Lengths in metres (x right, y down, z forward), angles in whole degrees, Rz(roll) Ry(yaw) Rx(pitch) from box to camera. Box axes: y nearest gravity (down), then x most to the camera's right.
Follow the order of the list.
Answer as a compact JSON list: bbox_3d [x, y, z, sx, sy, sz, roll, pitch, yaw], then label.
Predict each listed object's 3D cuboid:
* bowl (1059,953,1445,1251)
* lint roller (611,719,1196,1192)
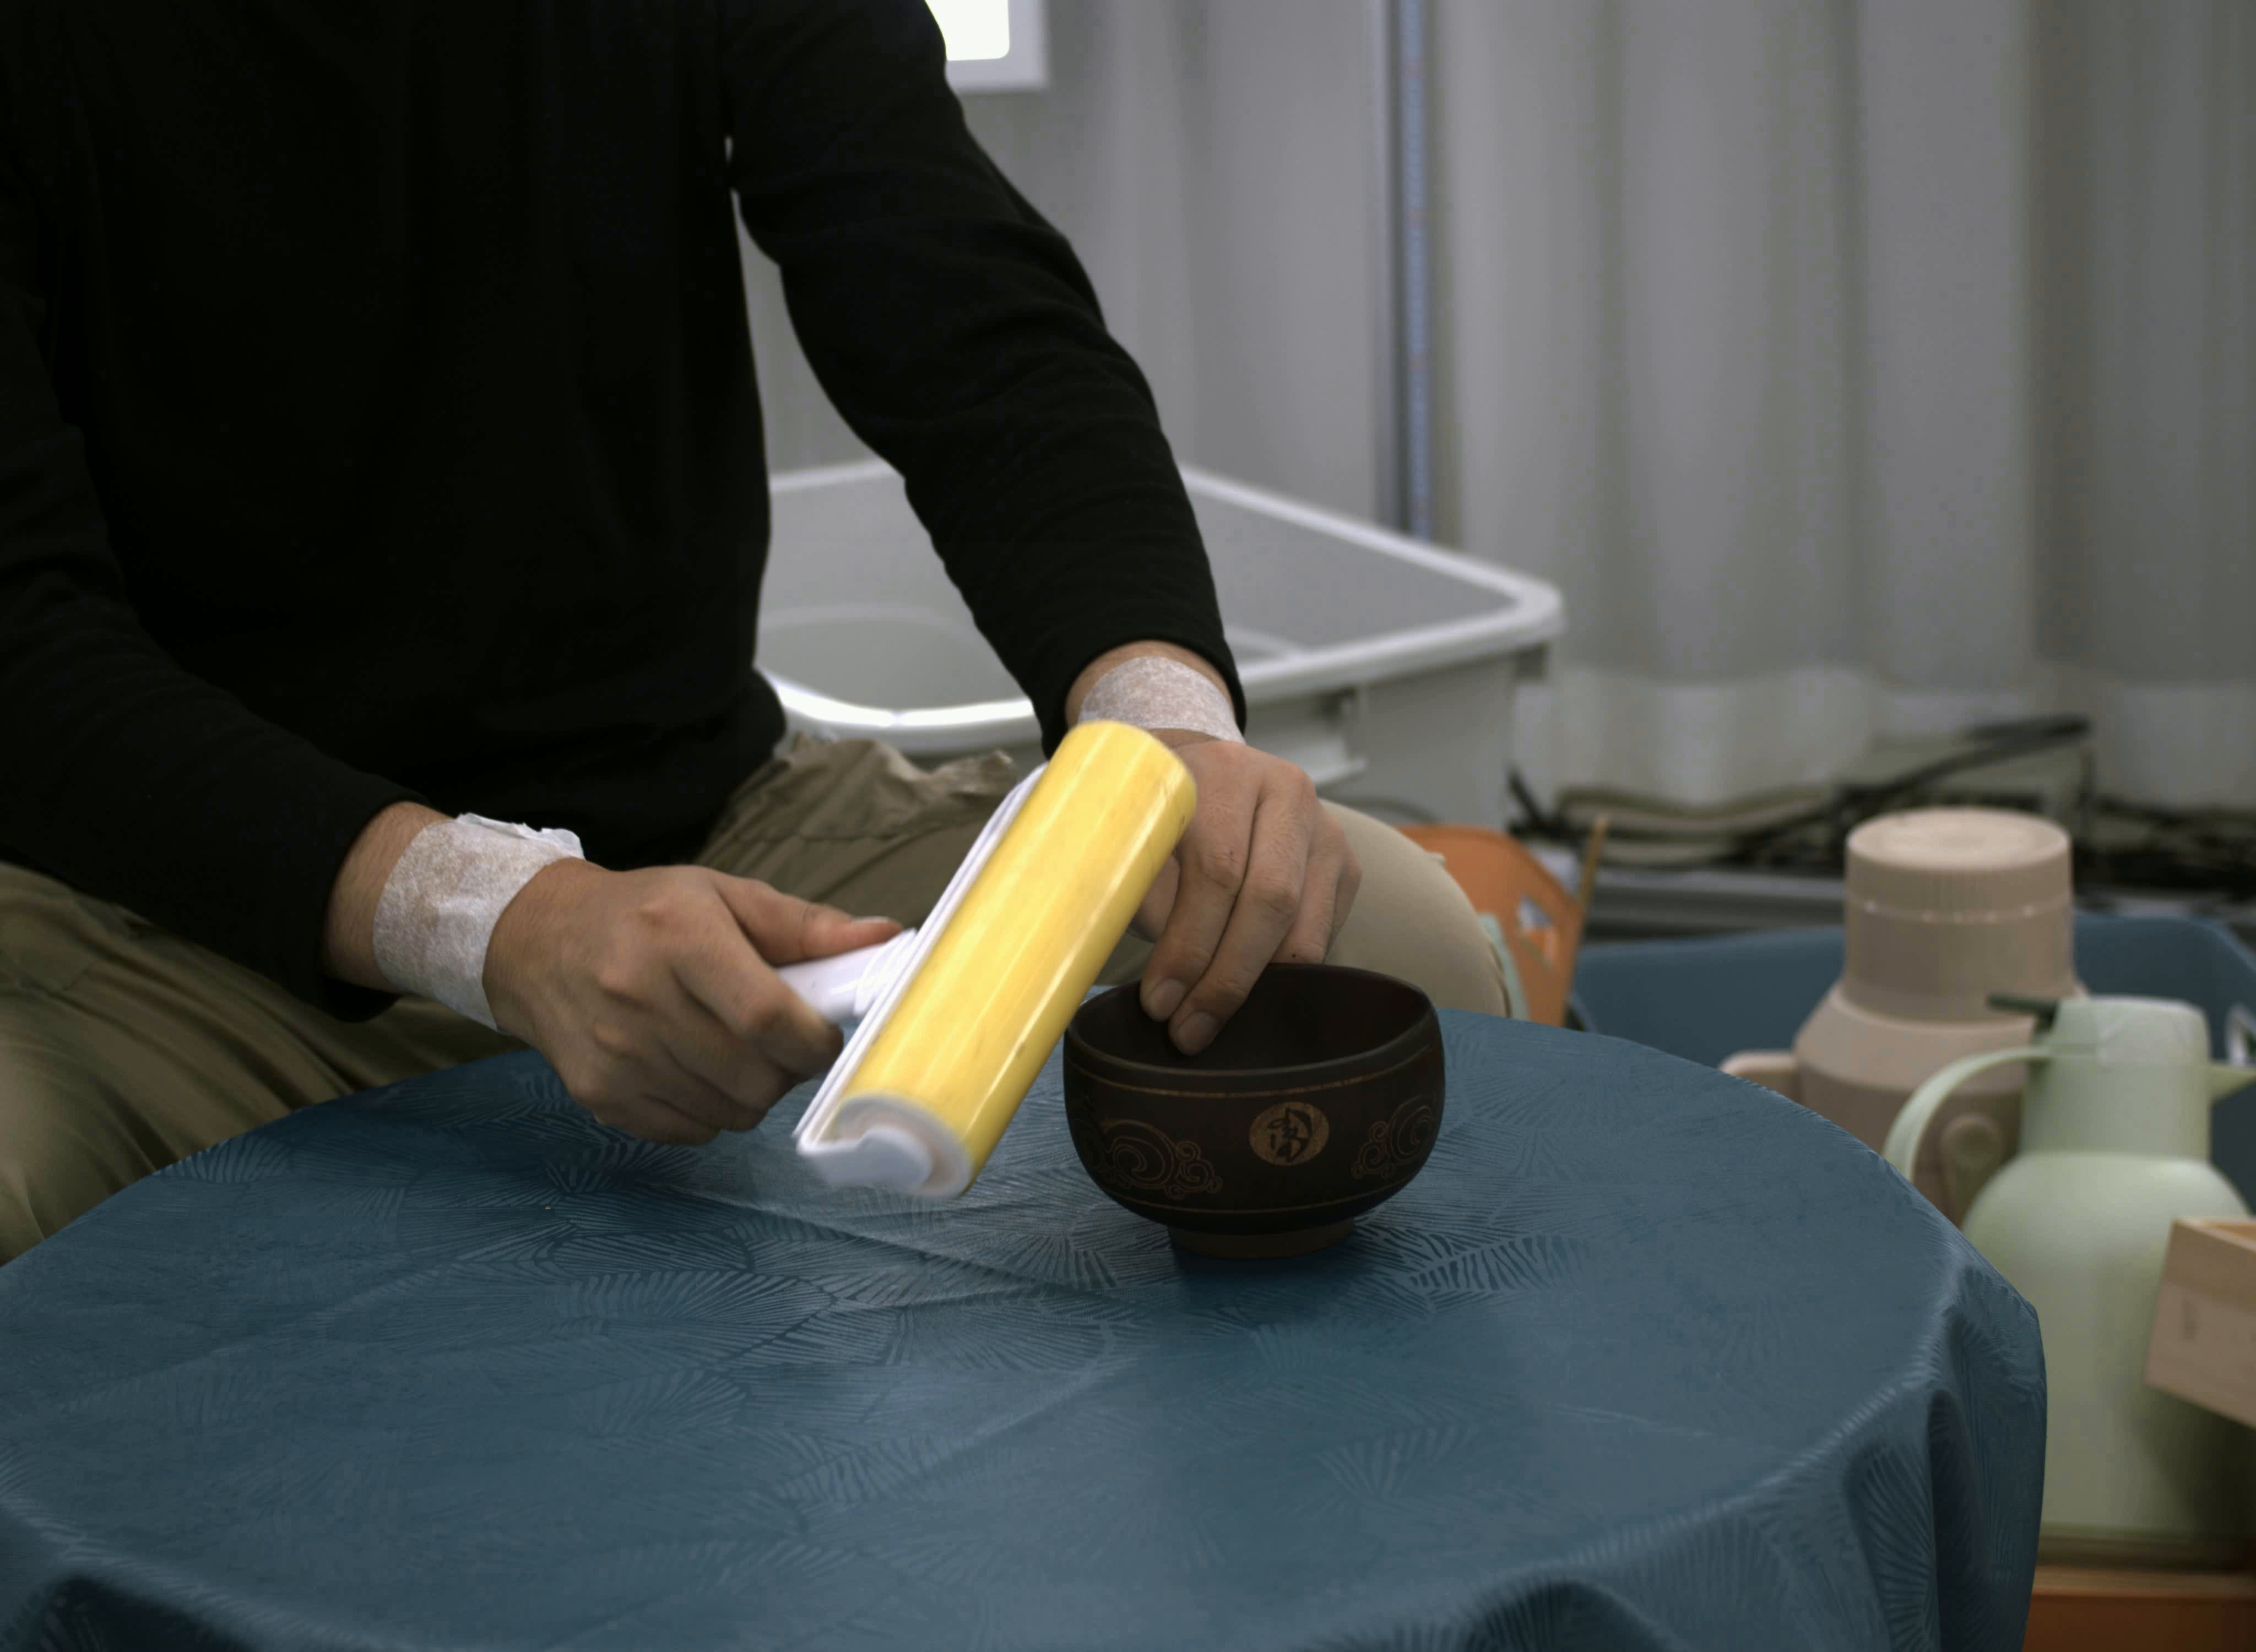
[{"bbox_3d":[0.038,0.088,1.663,0.117,0.069,0.119,-2,14,0],"label":"bowl"},{"bbox_3d":[-0.090,0.042,1.689,0.192,0.051,0.176,-3,40,33],"label":"lint roller"}]
